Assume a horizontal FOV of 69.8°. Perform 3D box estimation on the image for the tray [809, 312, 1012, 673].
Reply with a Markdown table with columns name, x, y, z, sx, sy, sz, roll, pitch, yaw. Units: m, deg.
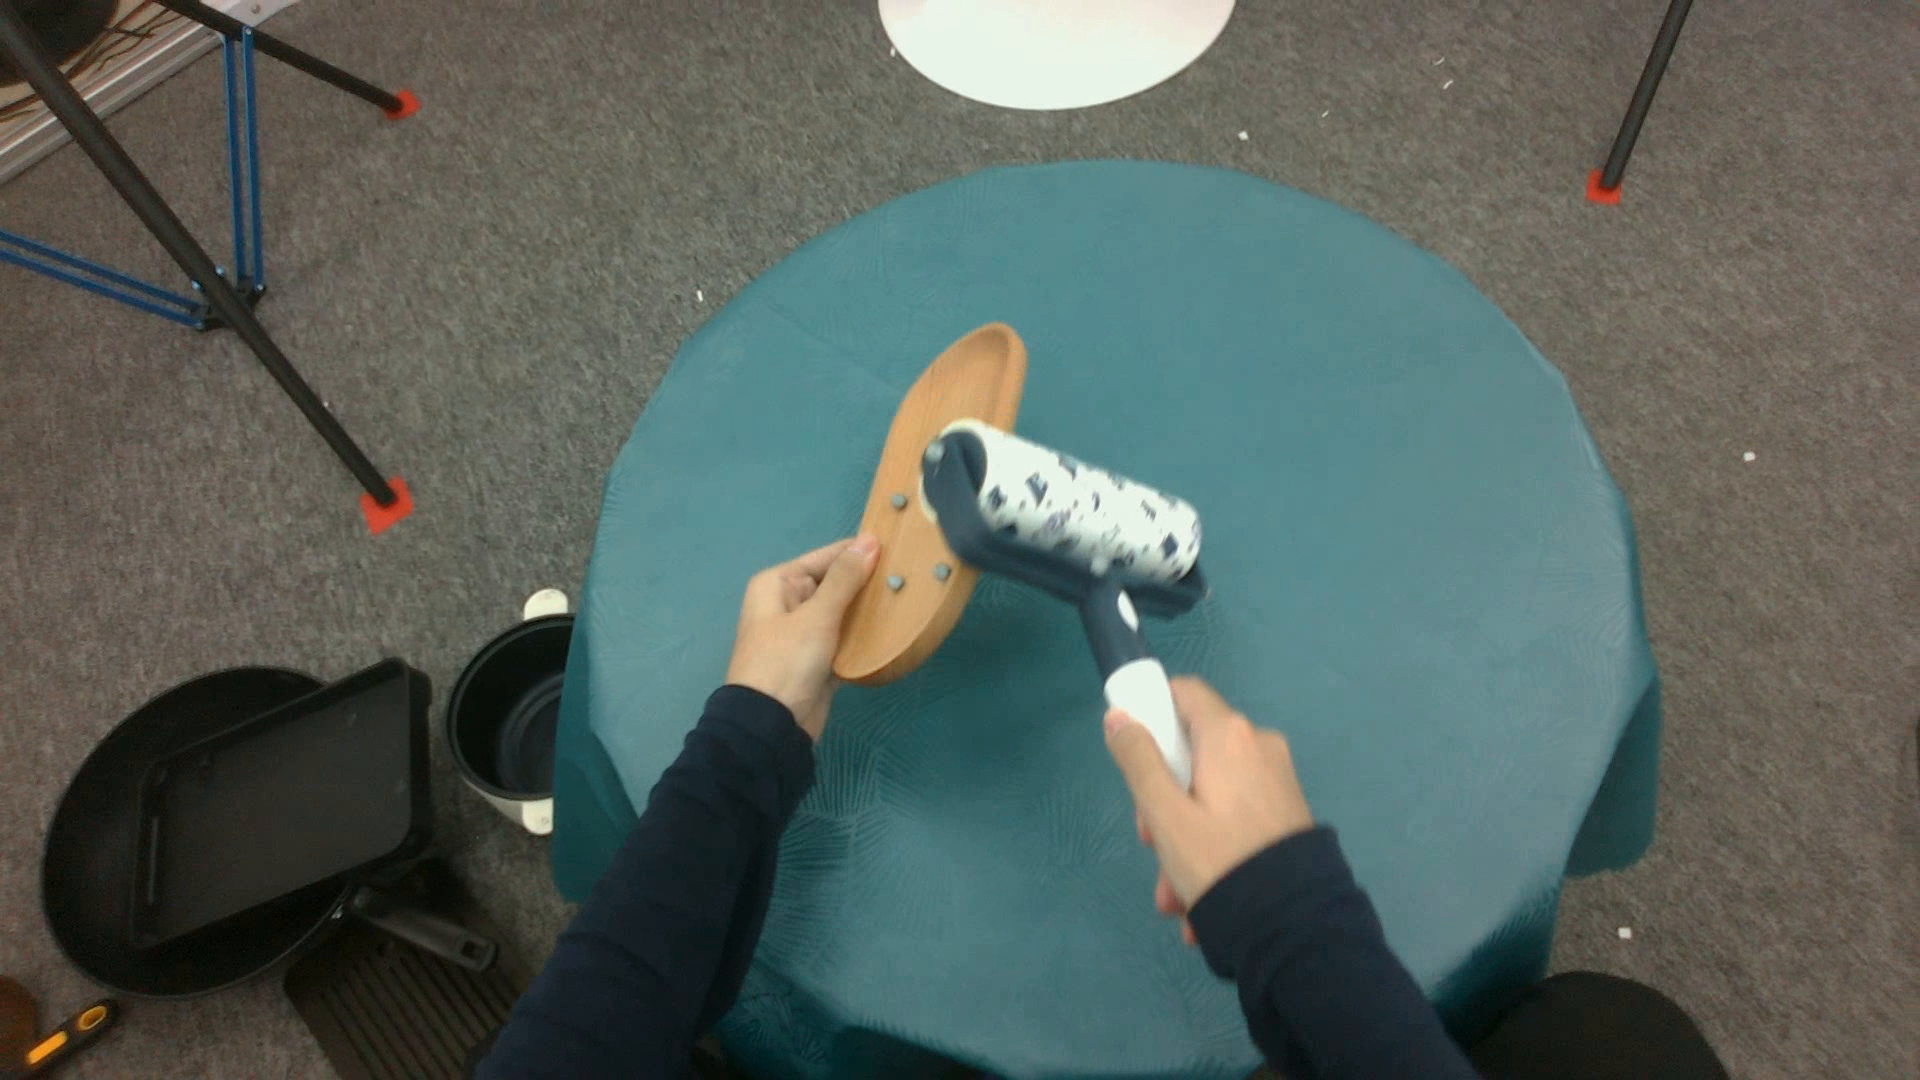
| name | x | y | z | sx | sy | sz | roll | pitch | yaw |
| --- | --- | --- | --- | --- | --- | --- | --- | --- | --- |
| tray | -0.023 | -0.031 | 0.720 | 0.101 | 0.020 | 0.232 | -23 | 38 | 39 |

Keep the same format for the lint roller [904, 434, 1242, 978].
| name | x | y | z | sx | sy | sz | roll | pitch | yaw |
| --- | --- | --- | --- | --- | --- | --- | --- | --- | --- |
| lint roller | 0.075 | 0.070 | 0.616 | 0.050 | 0.176 | 0.248 | -40 | 55 | 28 |
